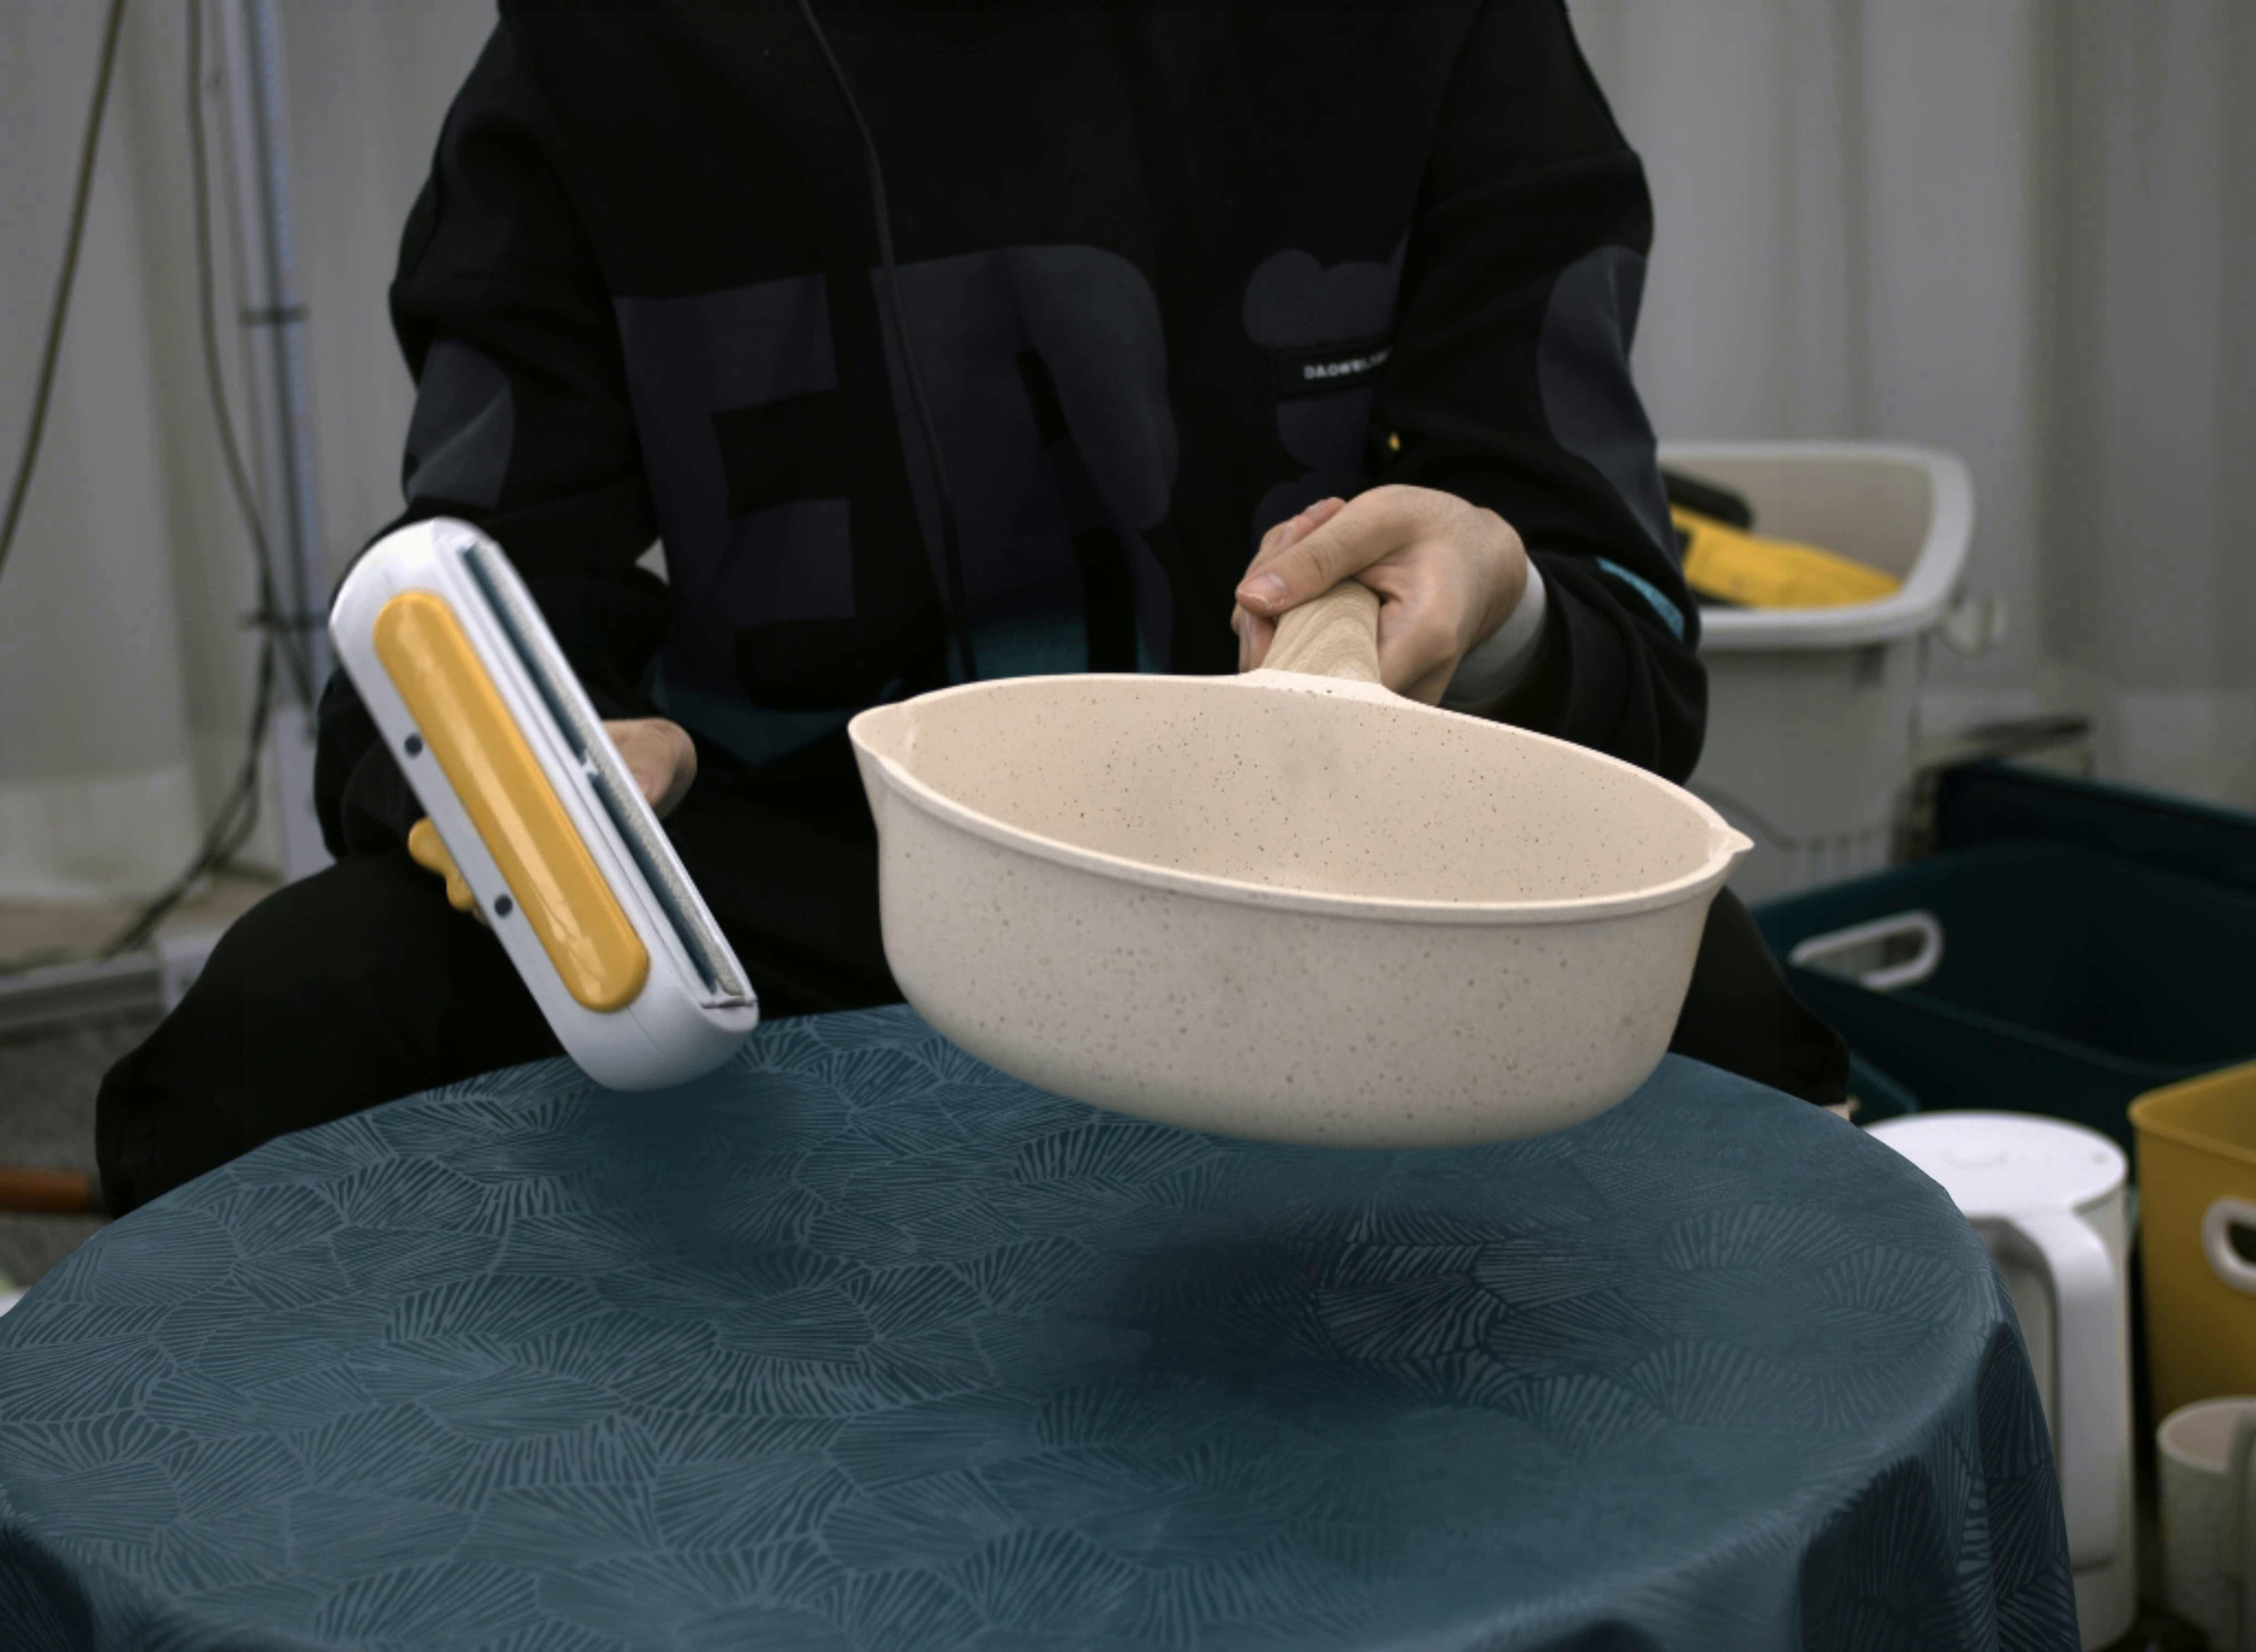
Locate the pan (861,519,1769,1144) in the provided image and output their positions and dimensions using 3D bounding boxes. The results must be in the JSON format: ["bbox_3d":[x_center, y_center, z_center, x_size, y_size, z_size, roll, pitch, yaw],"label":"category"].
[{"bbox_3d":[0.056,-0.004,1.671,0.262,0.101,0.437,5,14,2],"label":"pan"}]

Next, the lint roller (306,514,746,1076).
[{"bbox_3d":[-0.177,0.002,1.740,0.074,0.194,0.191,-38,-14,5],"label":"lint roller"}]
